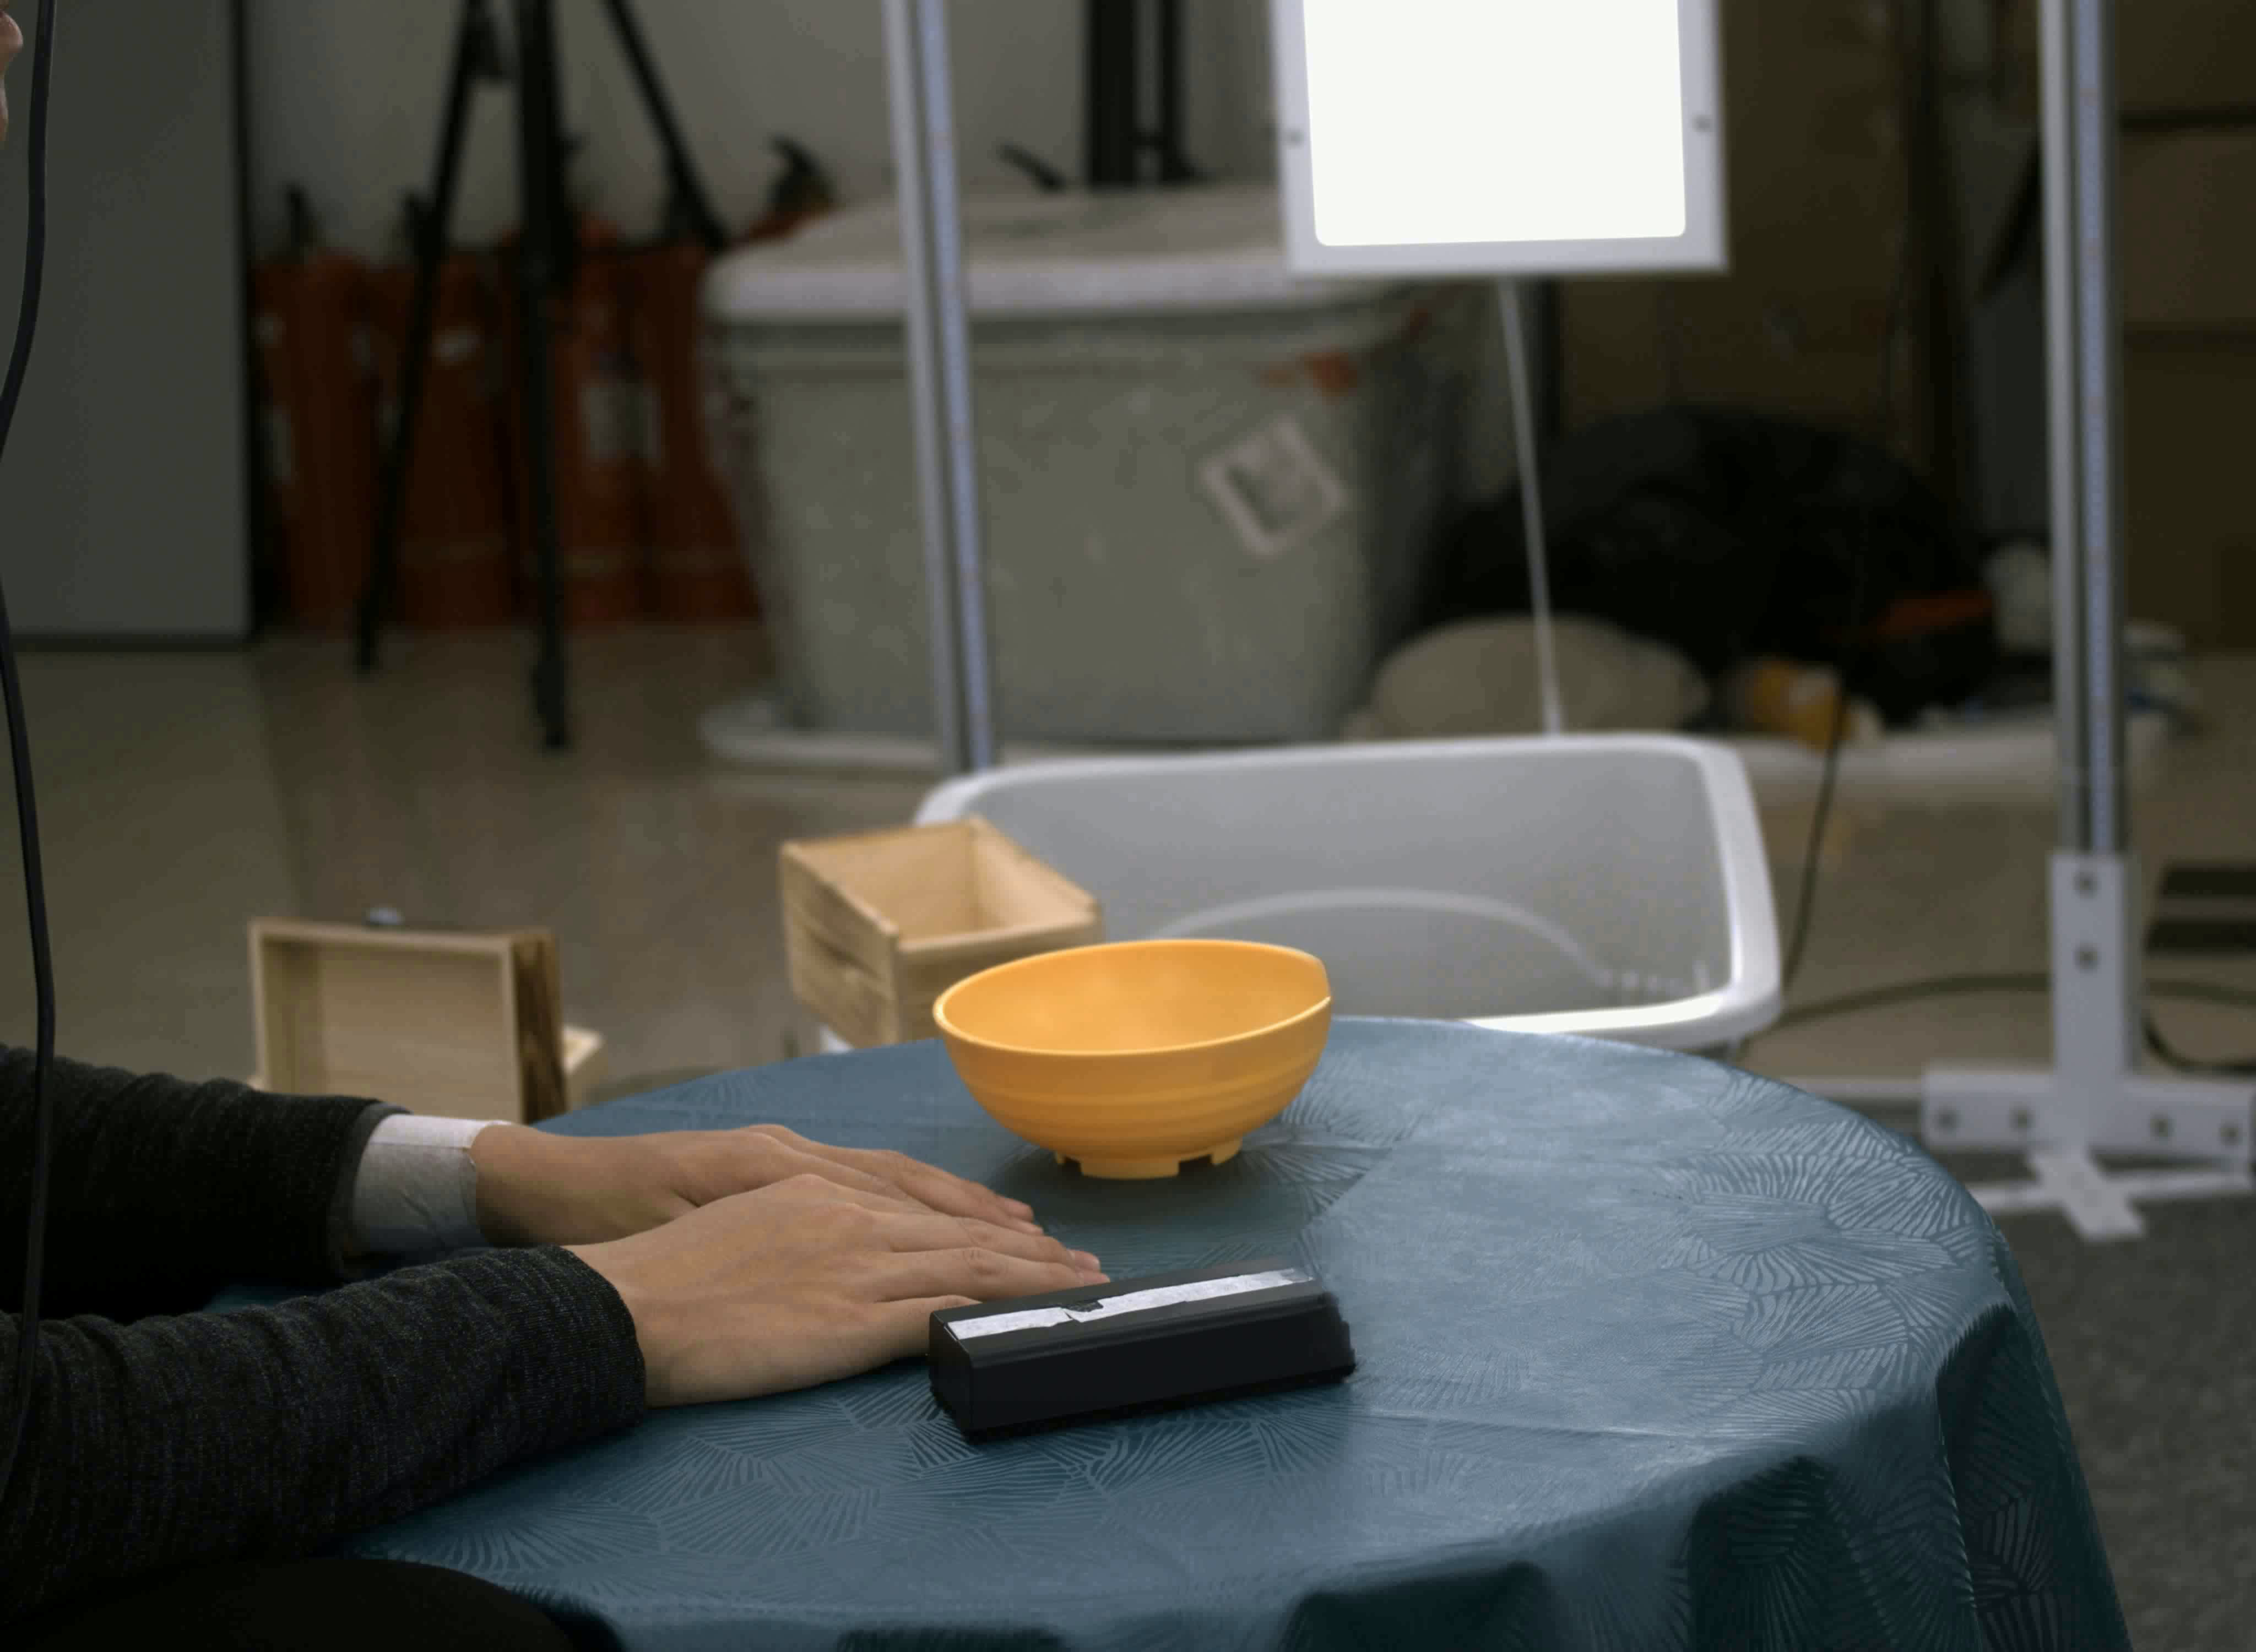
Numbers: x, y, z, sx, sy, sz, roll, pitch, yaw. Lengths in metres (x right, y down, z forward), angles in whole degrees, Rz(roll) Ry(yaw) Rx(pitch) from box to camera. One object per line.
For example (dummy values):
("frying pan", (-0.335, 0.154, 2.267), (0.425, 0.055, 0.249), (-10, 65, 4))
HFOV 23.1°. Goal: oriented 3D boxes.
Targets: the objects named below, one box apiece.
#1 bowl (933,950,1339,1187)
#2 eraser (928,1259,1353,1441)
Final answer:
("bowl", (0.006, 0.089, 1.933), (0.145, 0.060, 0.145), (-7, 12, 0))
("eraser", (0.005, 0.161, 1.697), (0.124, 0.030, 0.054), (-9, 11, -14))
